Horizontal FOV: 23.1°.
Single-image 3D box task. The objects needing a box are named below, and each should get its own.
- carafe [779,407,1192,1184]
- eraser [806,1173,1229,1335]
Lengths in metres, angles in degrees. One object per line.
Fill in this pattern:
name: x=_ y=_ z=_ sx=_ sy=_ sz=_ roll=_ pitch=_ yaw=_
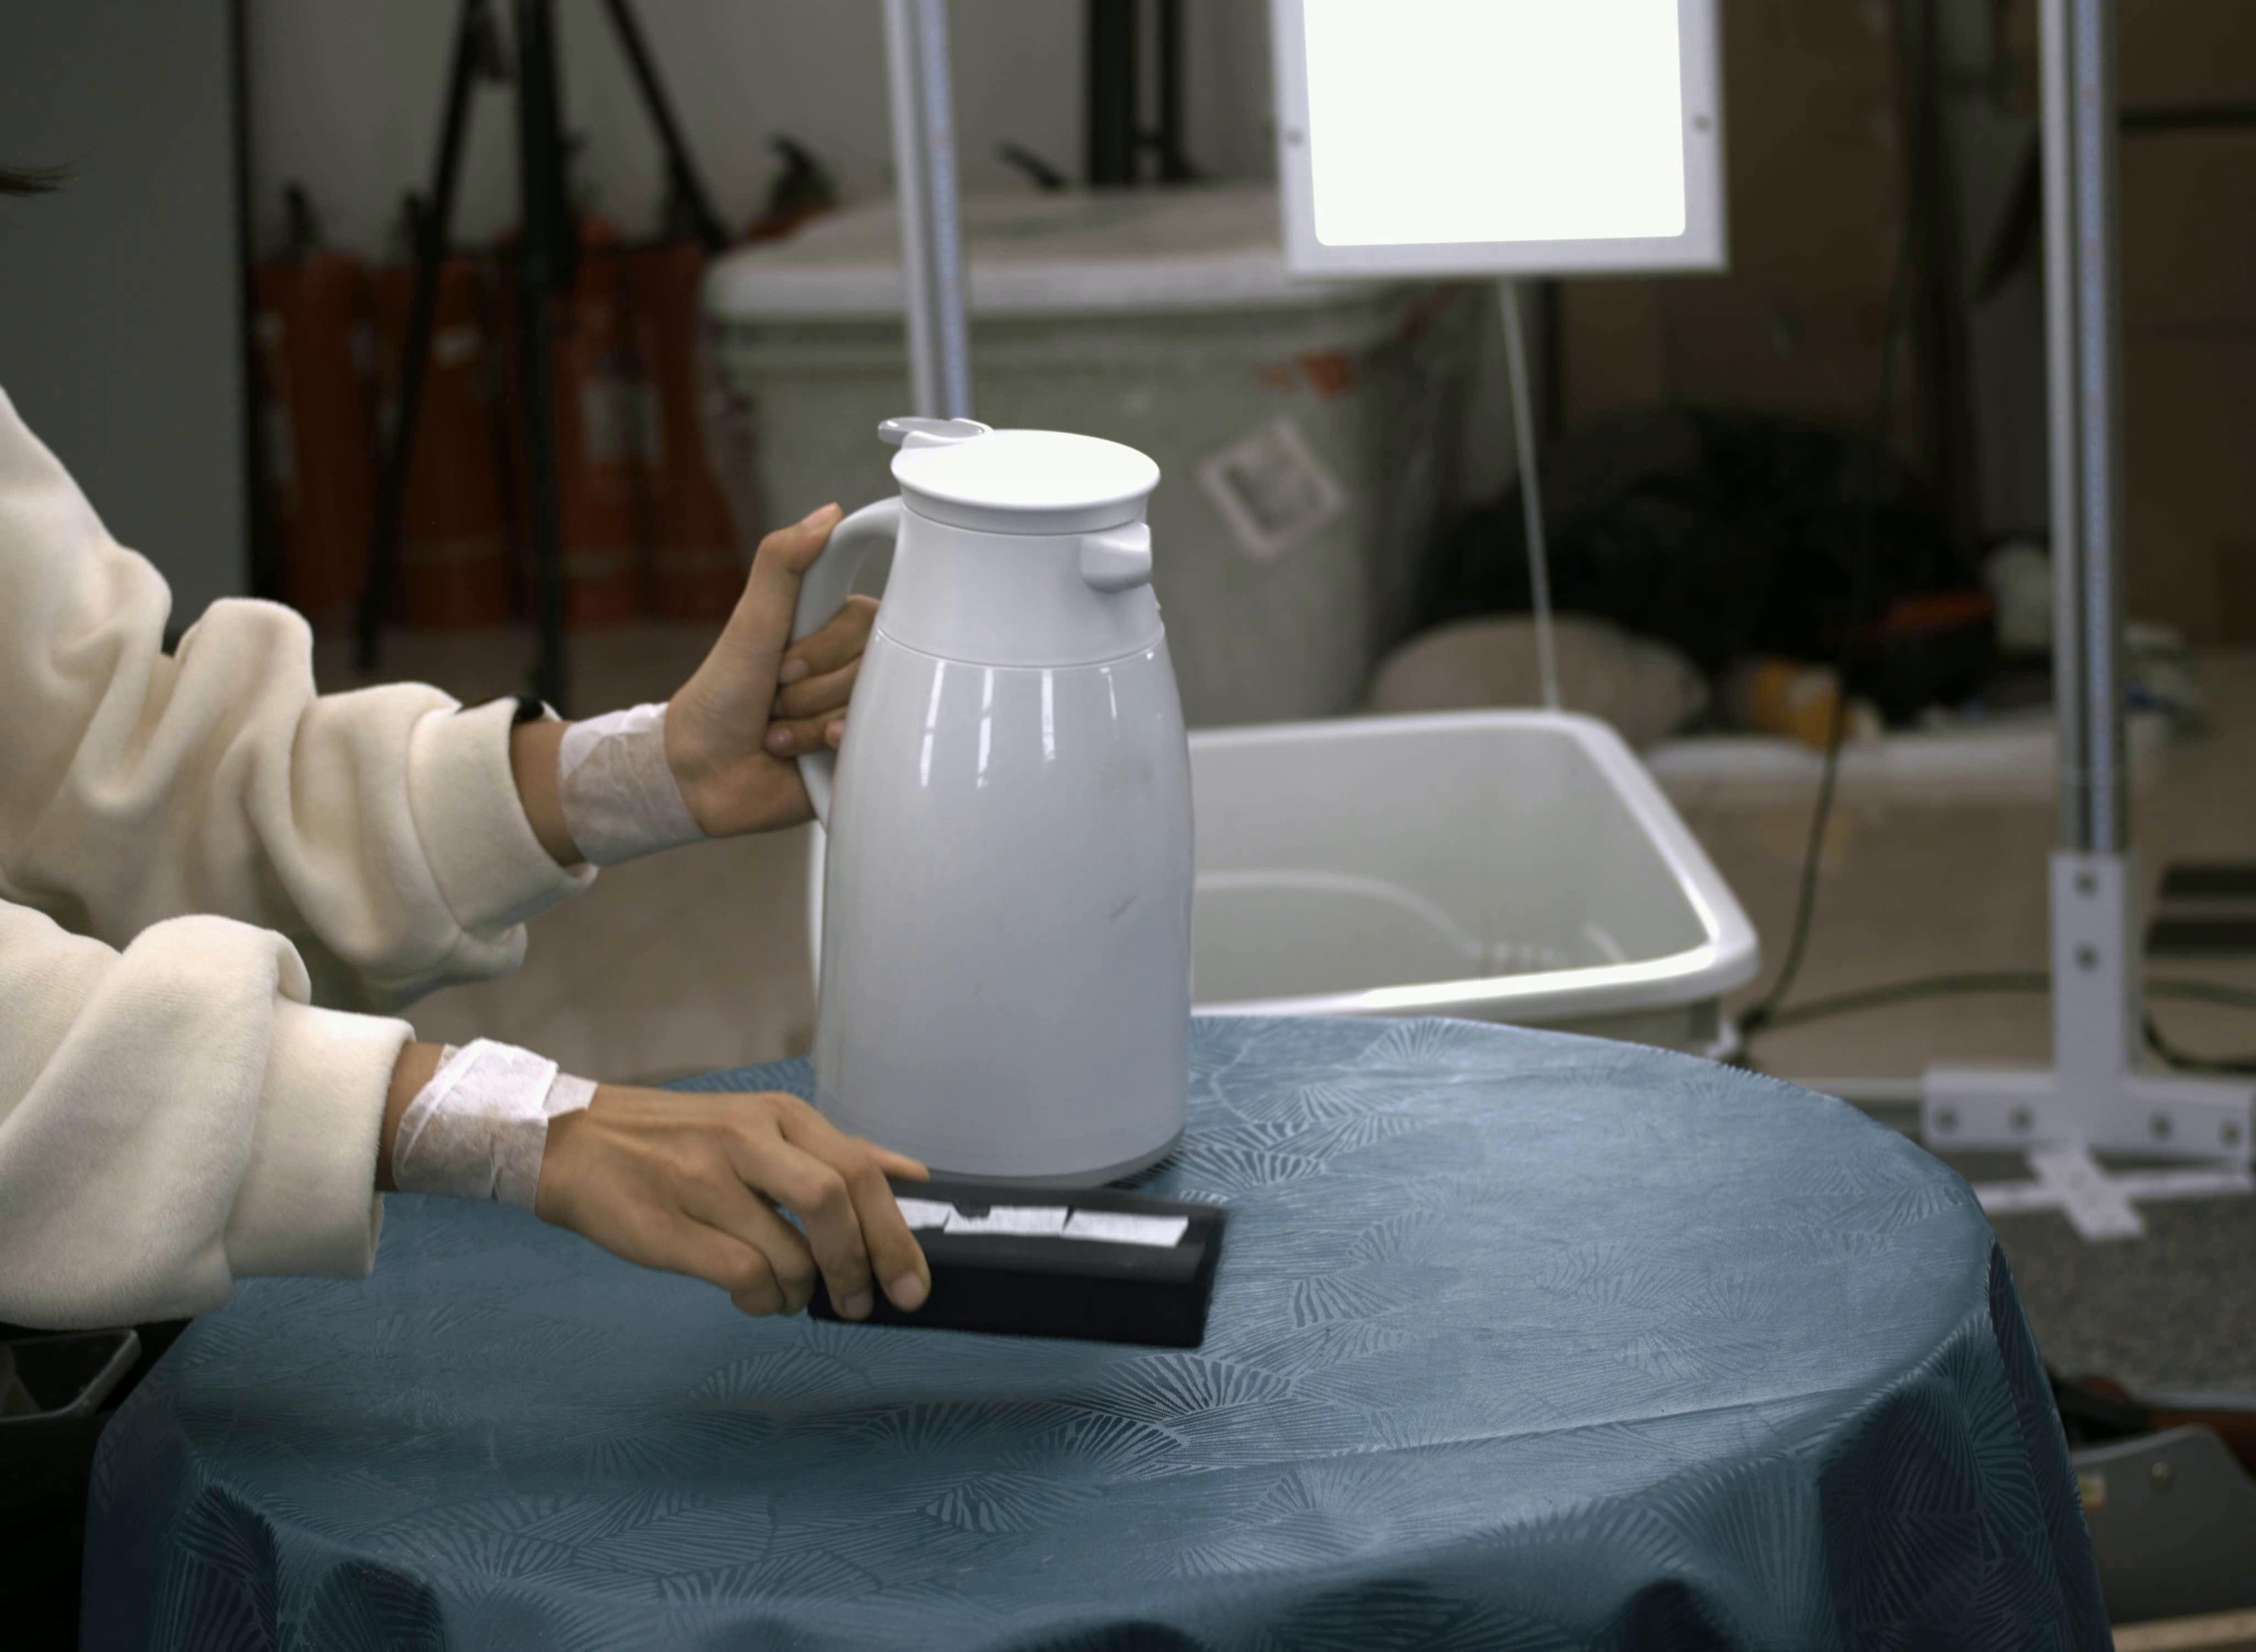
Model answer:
carafe: x=-0.056 y=-0.018 z=1.912 sx=0.171 sy=0.250 sz=0.129 roll=18 pitch=25 yaw=39
eraser: x=-0.032 y=0.130 z=1.686 sx=0.126 sy=0.030 sz=0.053 roll=2 pitch=22 yaw=13
